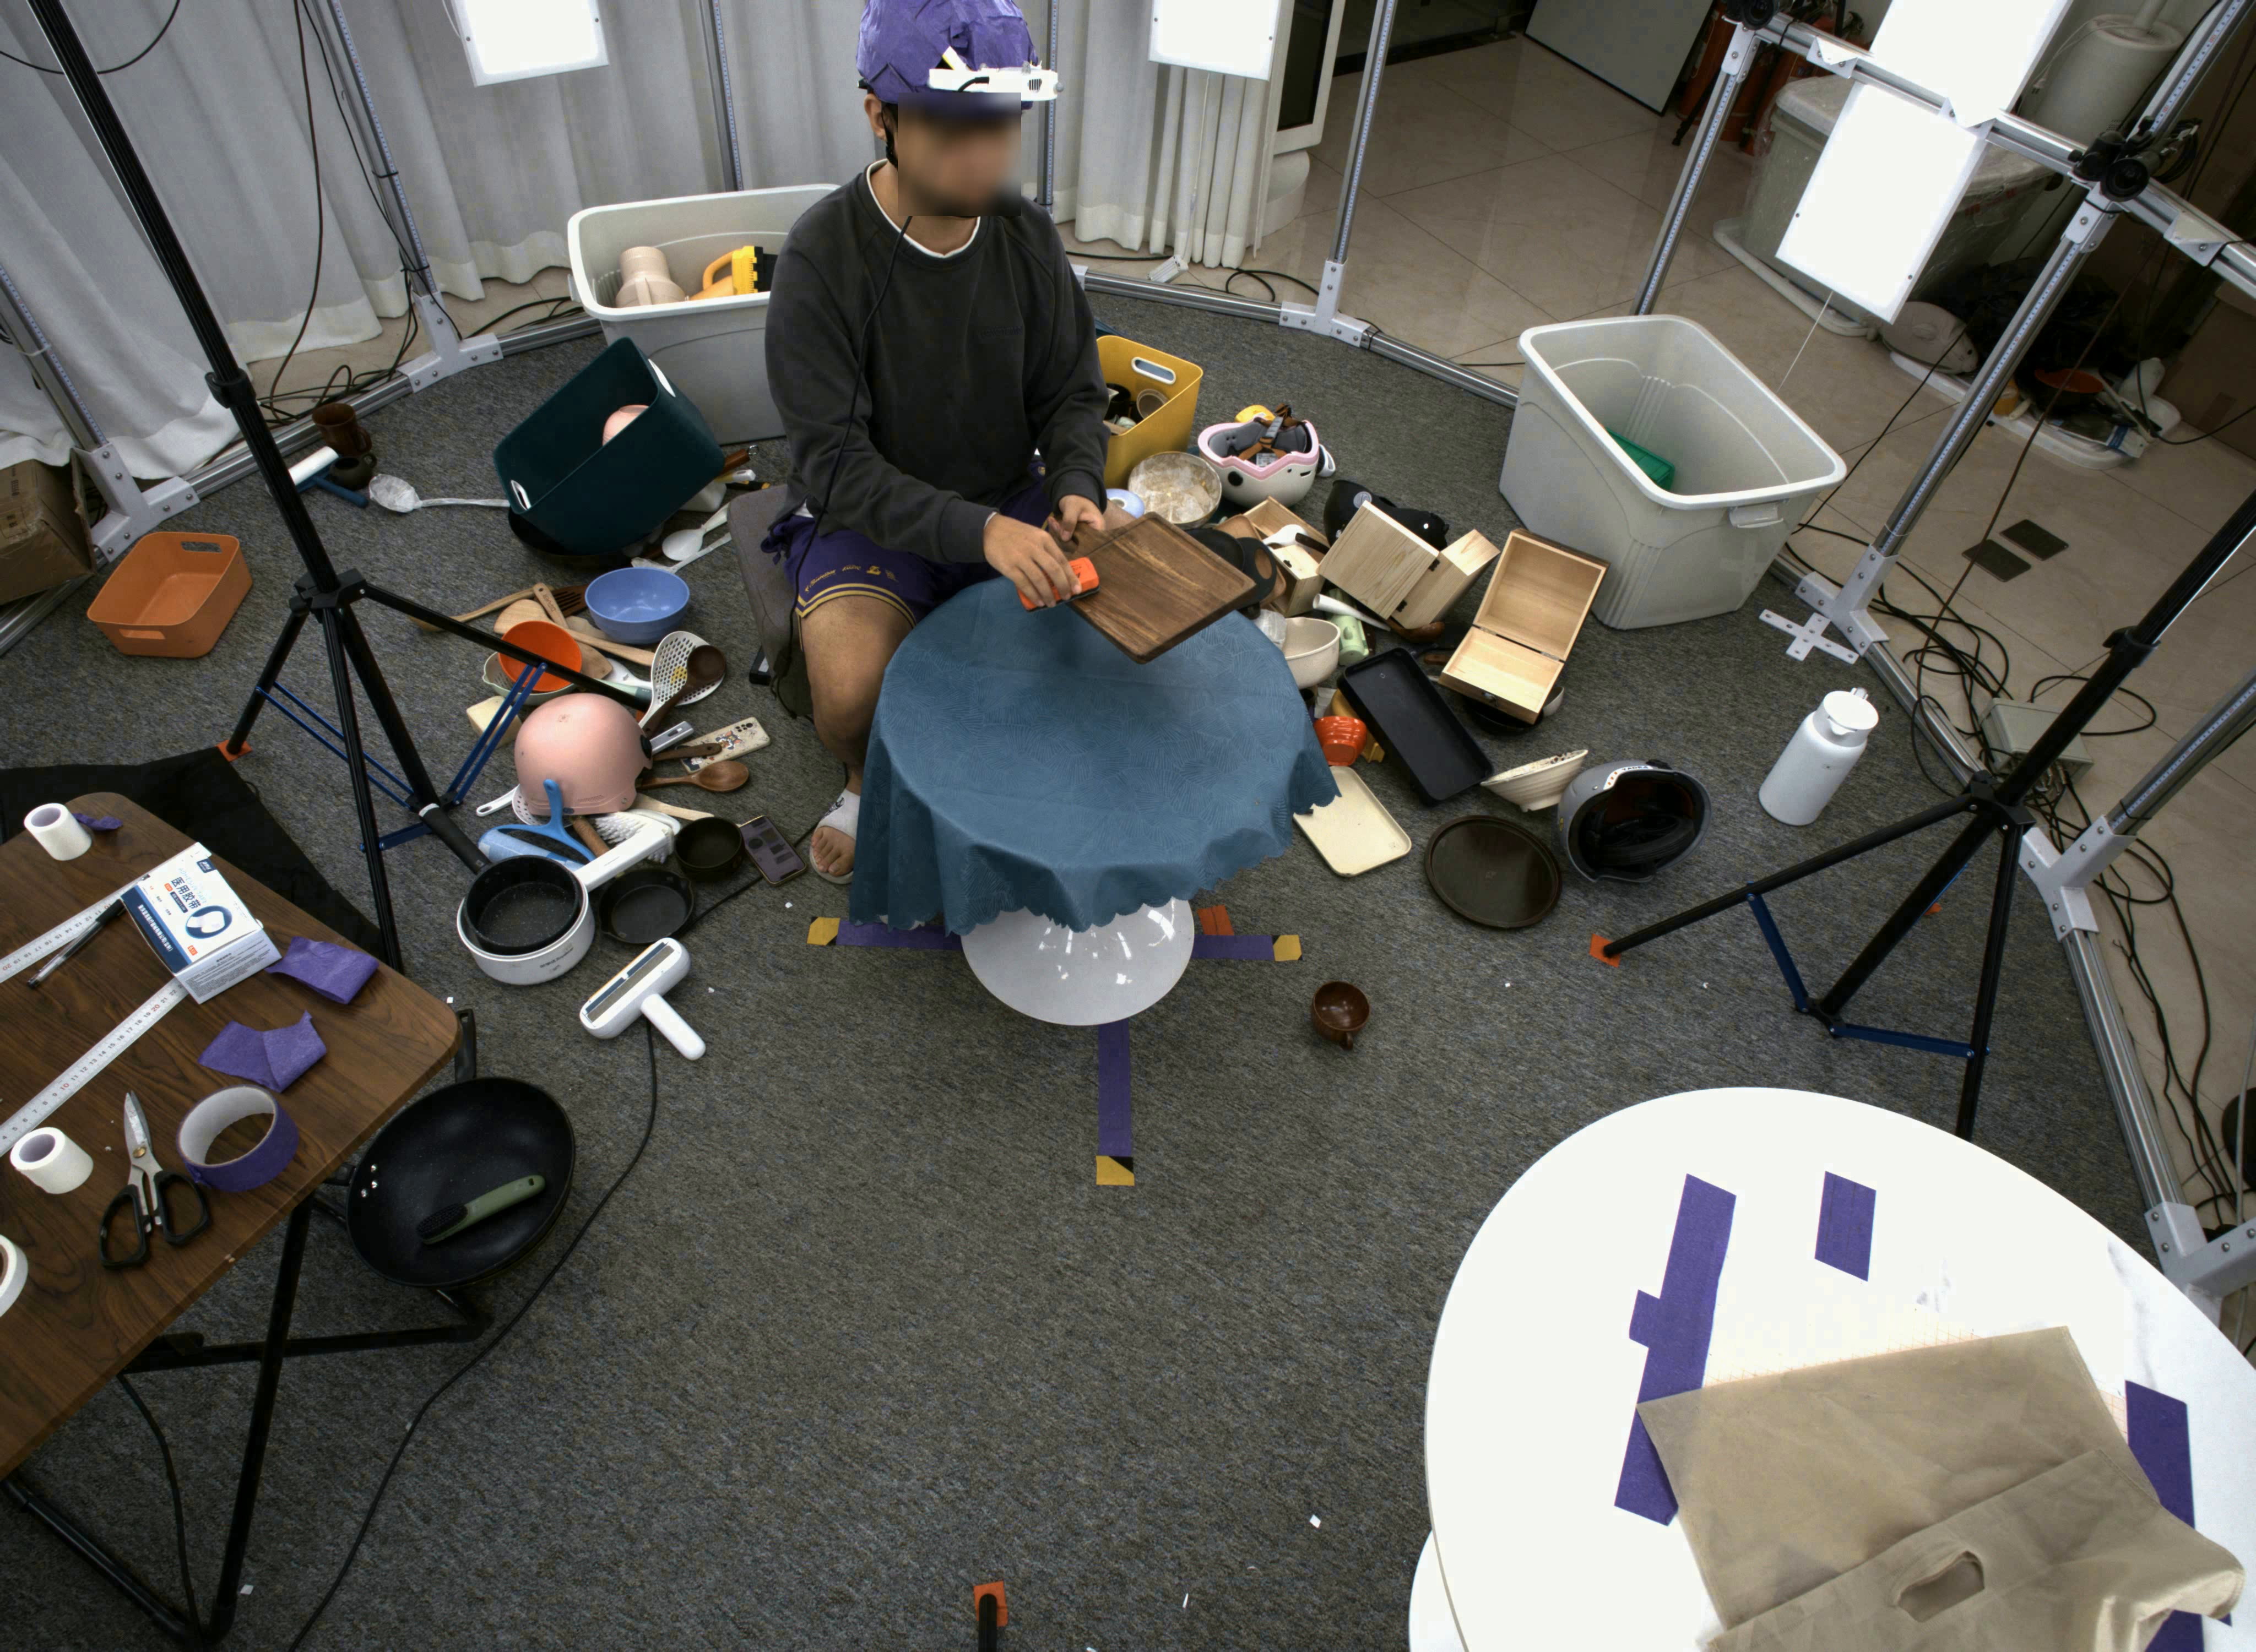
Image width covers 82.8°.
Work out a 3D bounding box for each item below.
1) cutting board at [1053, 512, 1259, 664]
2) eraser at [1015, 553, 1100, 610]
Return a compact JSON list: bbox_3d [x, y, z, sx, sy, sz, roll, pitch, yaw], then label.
[{"bbox_3d":[-0.001,-0.355,1.776,0.202,0.022,0.359,-33,47,-15],"label":"cutting board"},{"bbox_3d":[-0.095,-0.332,1.748,0.108,0.022,0.060,-21,44,-6],"label":"eraser"}]
